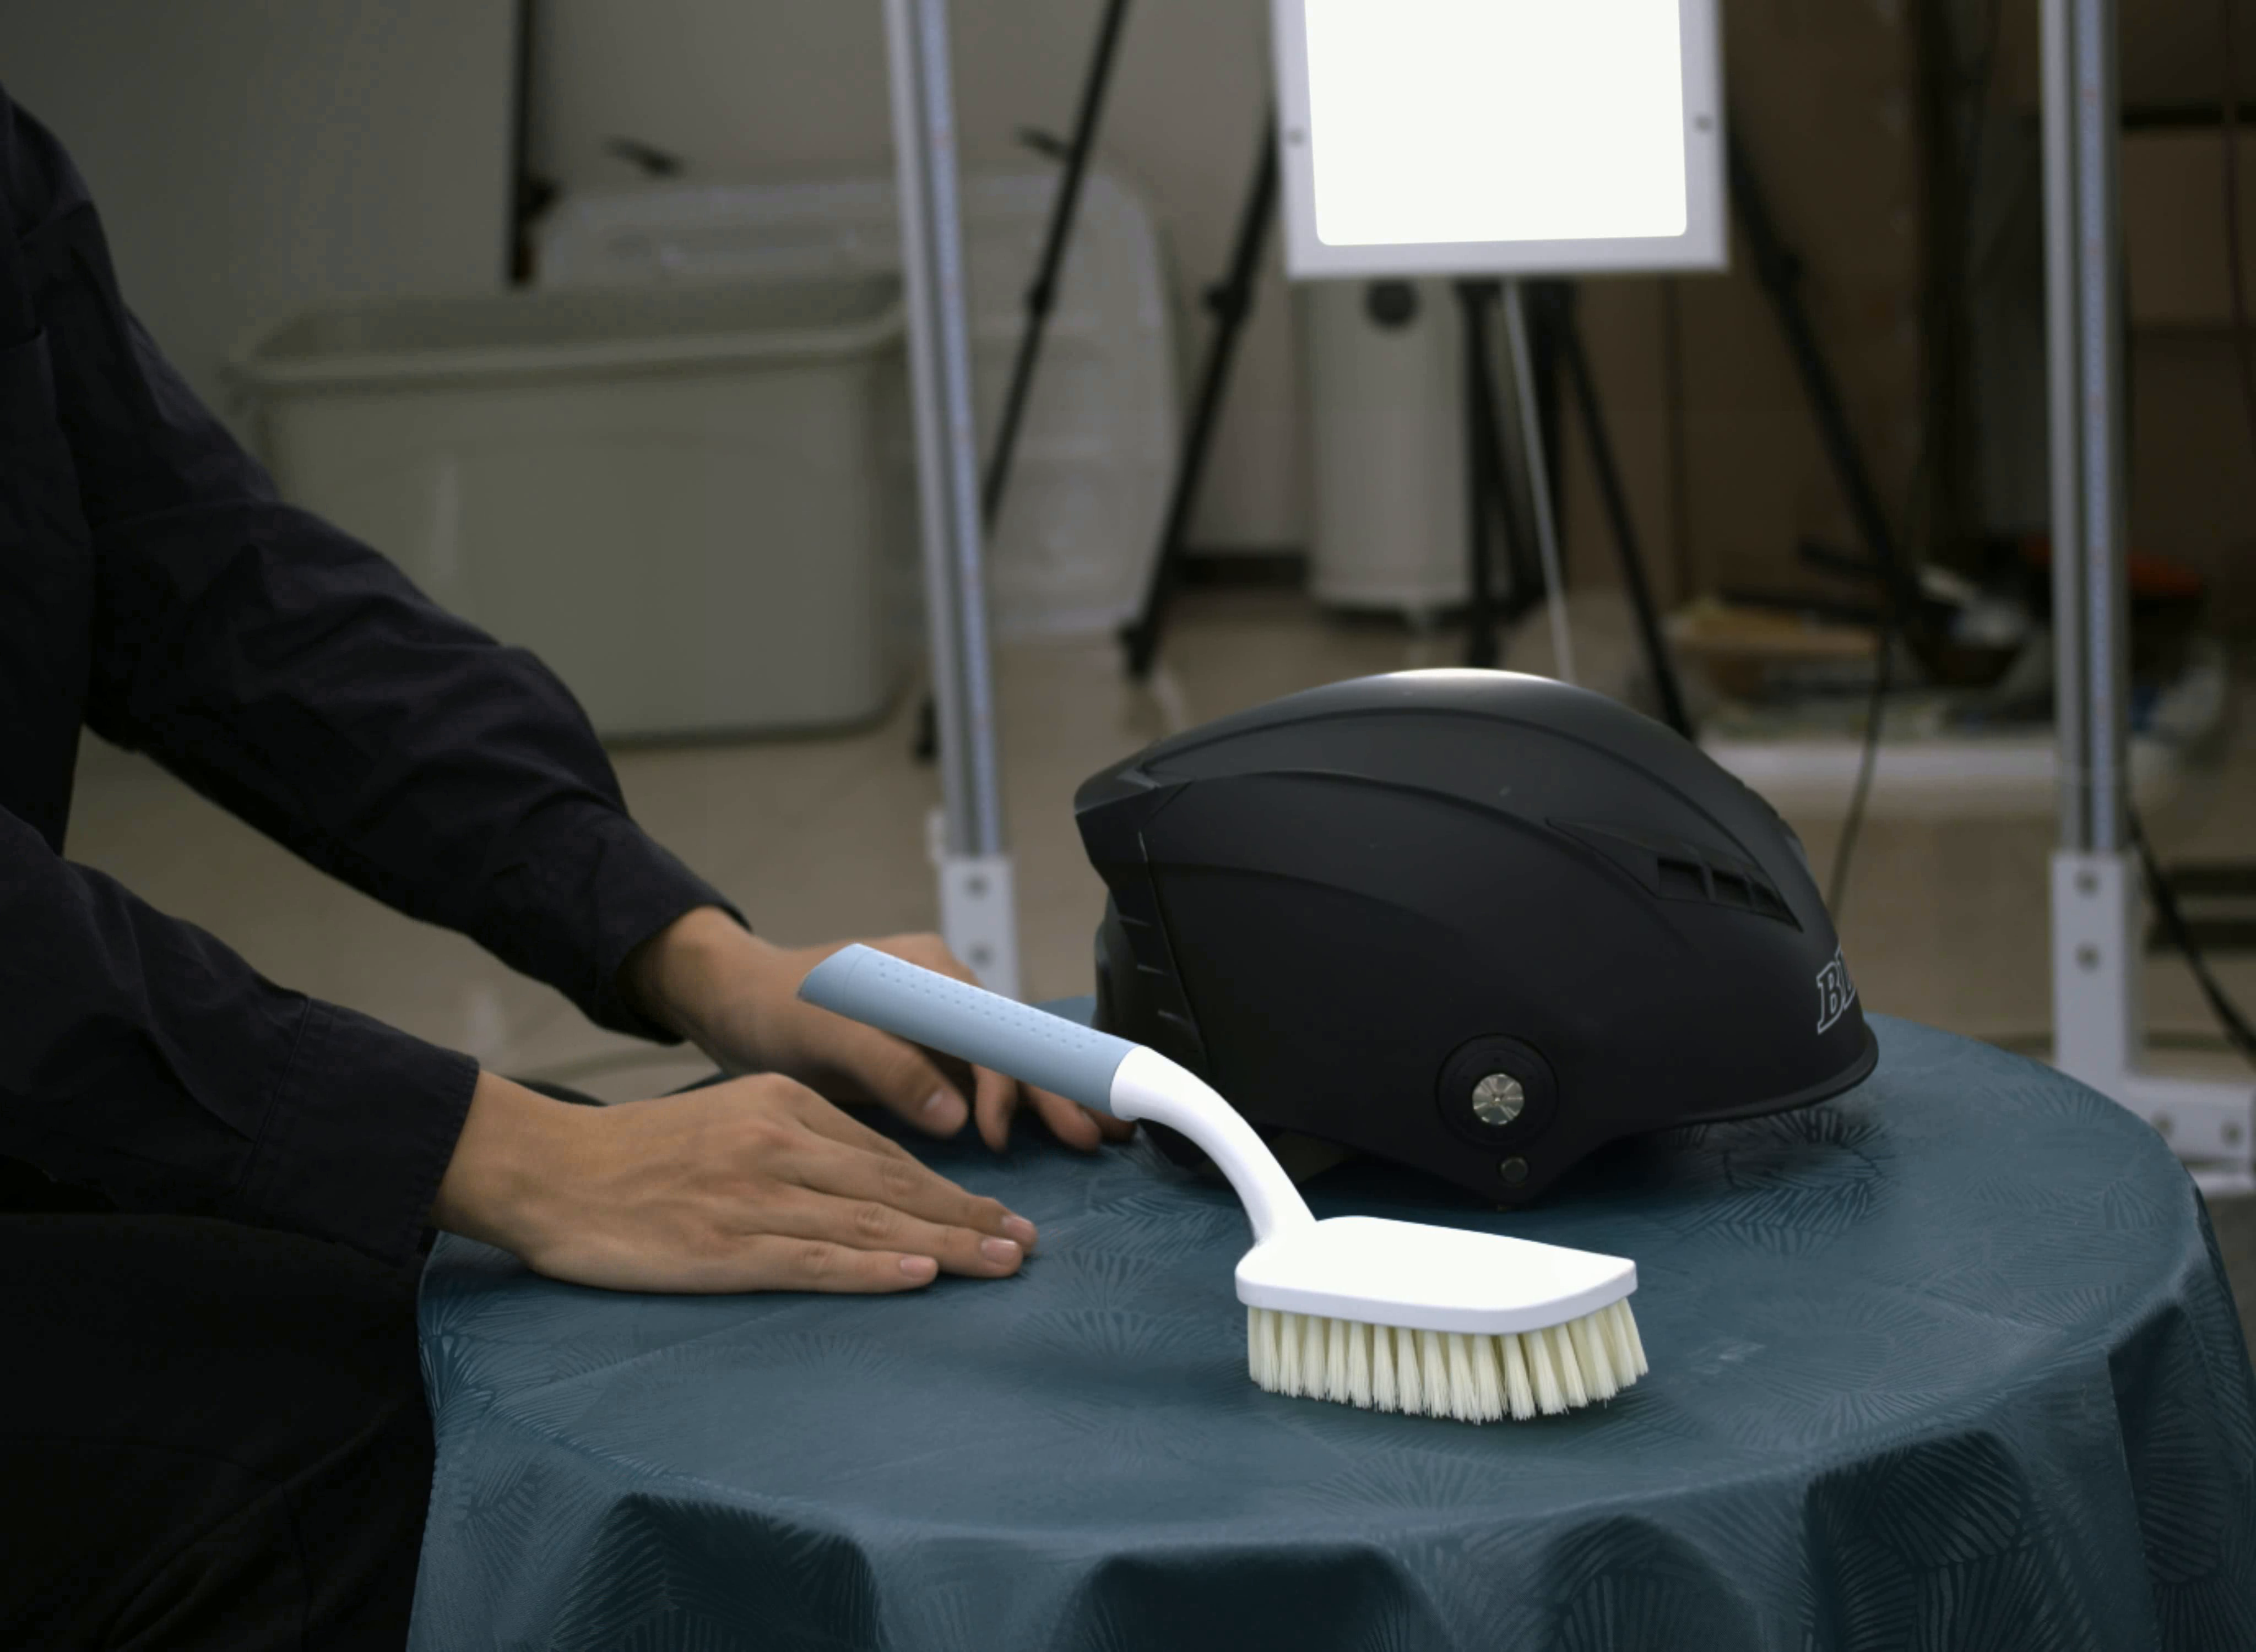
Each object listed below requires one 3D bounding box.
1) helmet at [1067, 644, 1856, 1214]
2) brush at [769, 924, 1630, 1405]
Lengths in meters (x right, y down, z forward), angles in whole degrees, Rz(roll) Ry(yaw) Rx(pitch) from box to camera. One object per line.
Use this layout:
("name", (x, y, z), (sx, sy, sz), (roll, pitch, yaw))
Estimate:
("helmet", (0.116, 0.023, 1.929), (0.280, 0.173, 0.243), (2, 16, 17))
("brush", (0.016, 0.120, 1.739), (0.331, 0.084, 0.082), (19, -12, 32))
